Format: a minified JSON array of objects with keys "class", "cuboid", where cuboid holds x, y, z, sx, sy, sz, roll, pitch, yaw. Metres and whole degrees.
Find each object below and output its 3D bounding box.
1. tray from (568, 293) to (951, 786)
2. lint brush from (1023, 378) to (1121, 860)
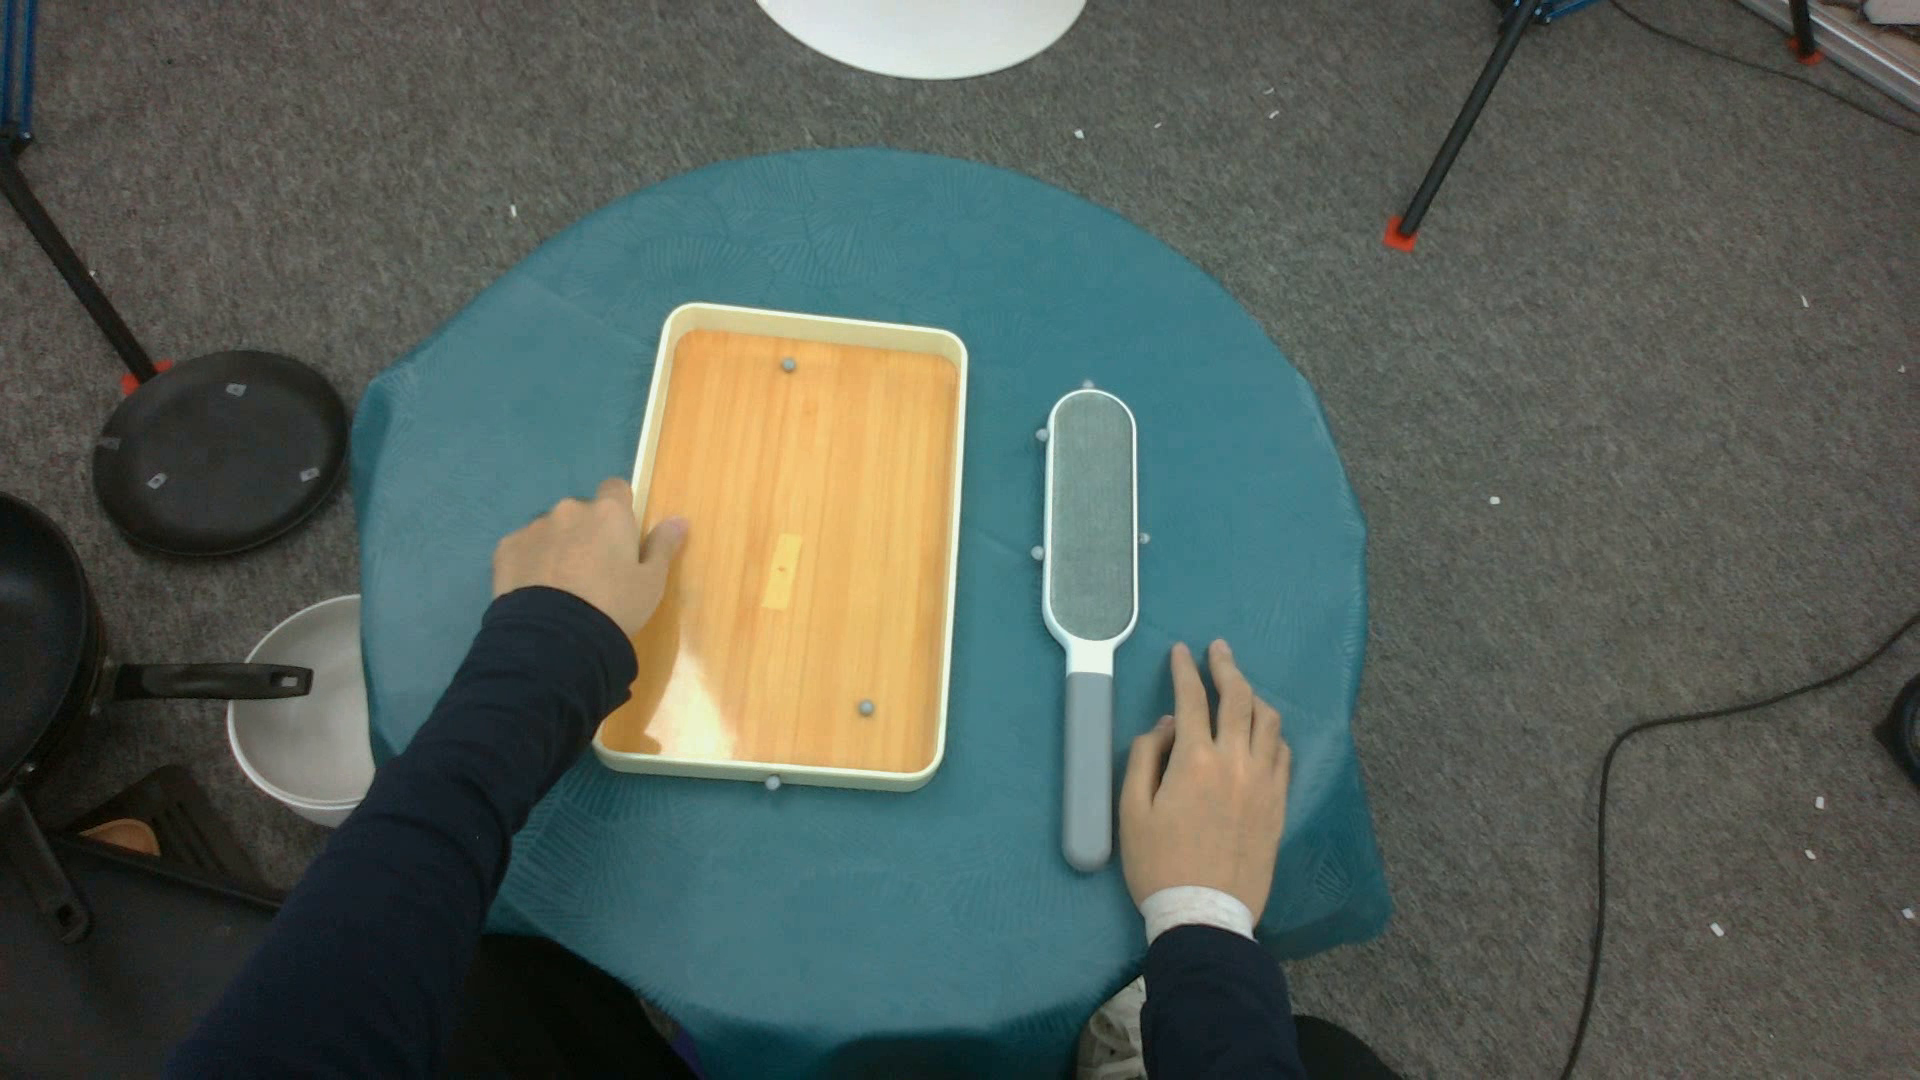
[{"class":"tray","cuboid":[-0.107,-0.010,0.804,0.191,0.027,0.301,6,61,-5]},{"class":"lint brush","cuboid":[0.064,0.034,0.805,0.060,0.021,0.310,9,61,-10]}]
